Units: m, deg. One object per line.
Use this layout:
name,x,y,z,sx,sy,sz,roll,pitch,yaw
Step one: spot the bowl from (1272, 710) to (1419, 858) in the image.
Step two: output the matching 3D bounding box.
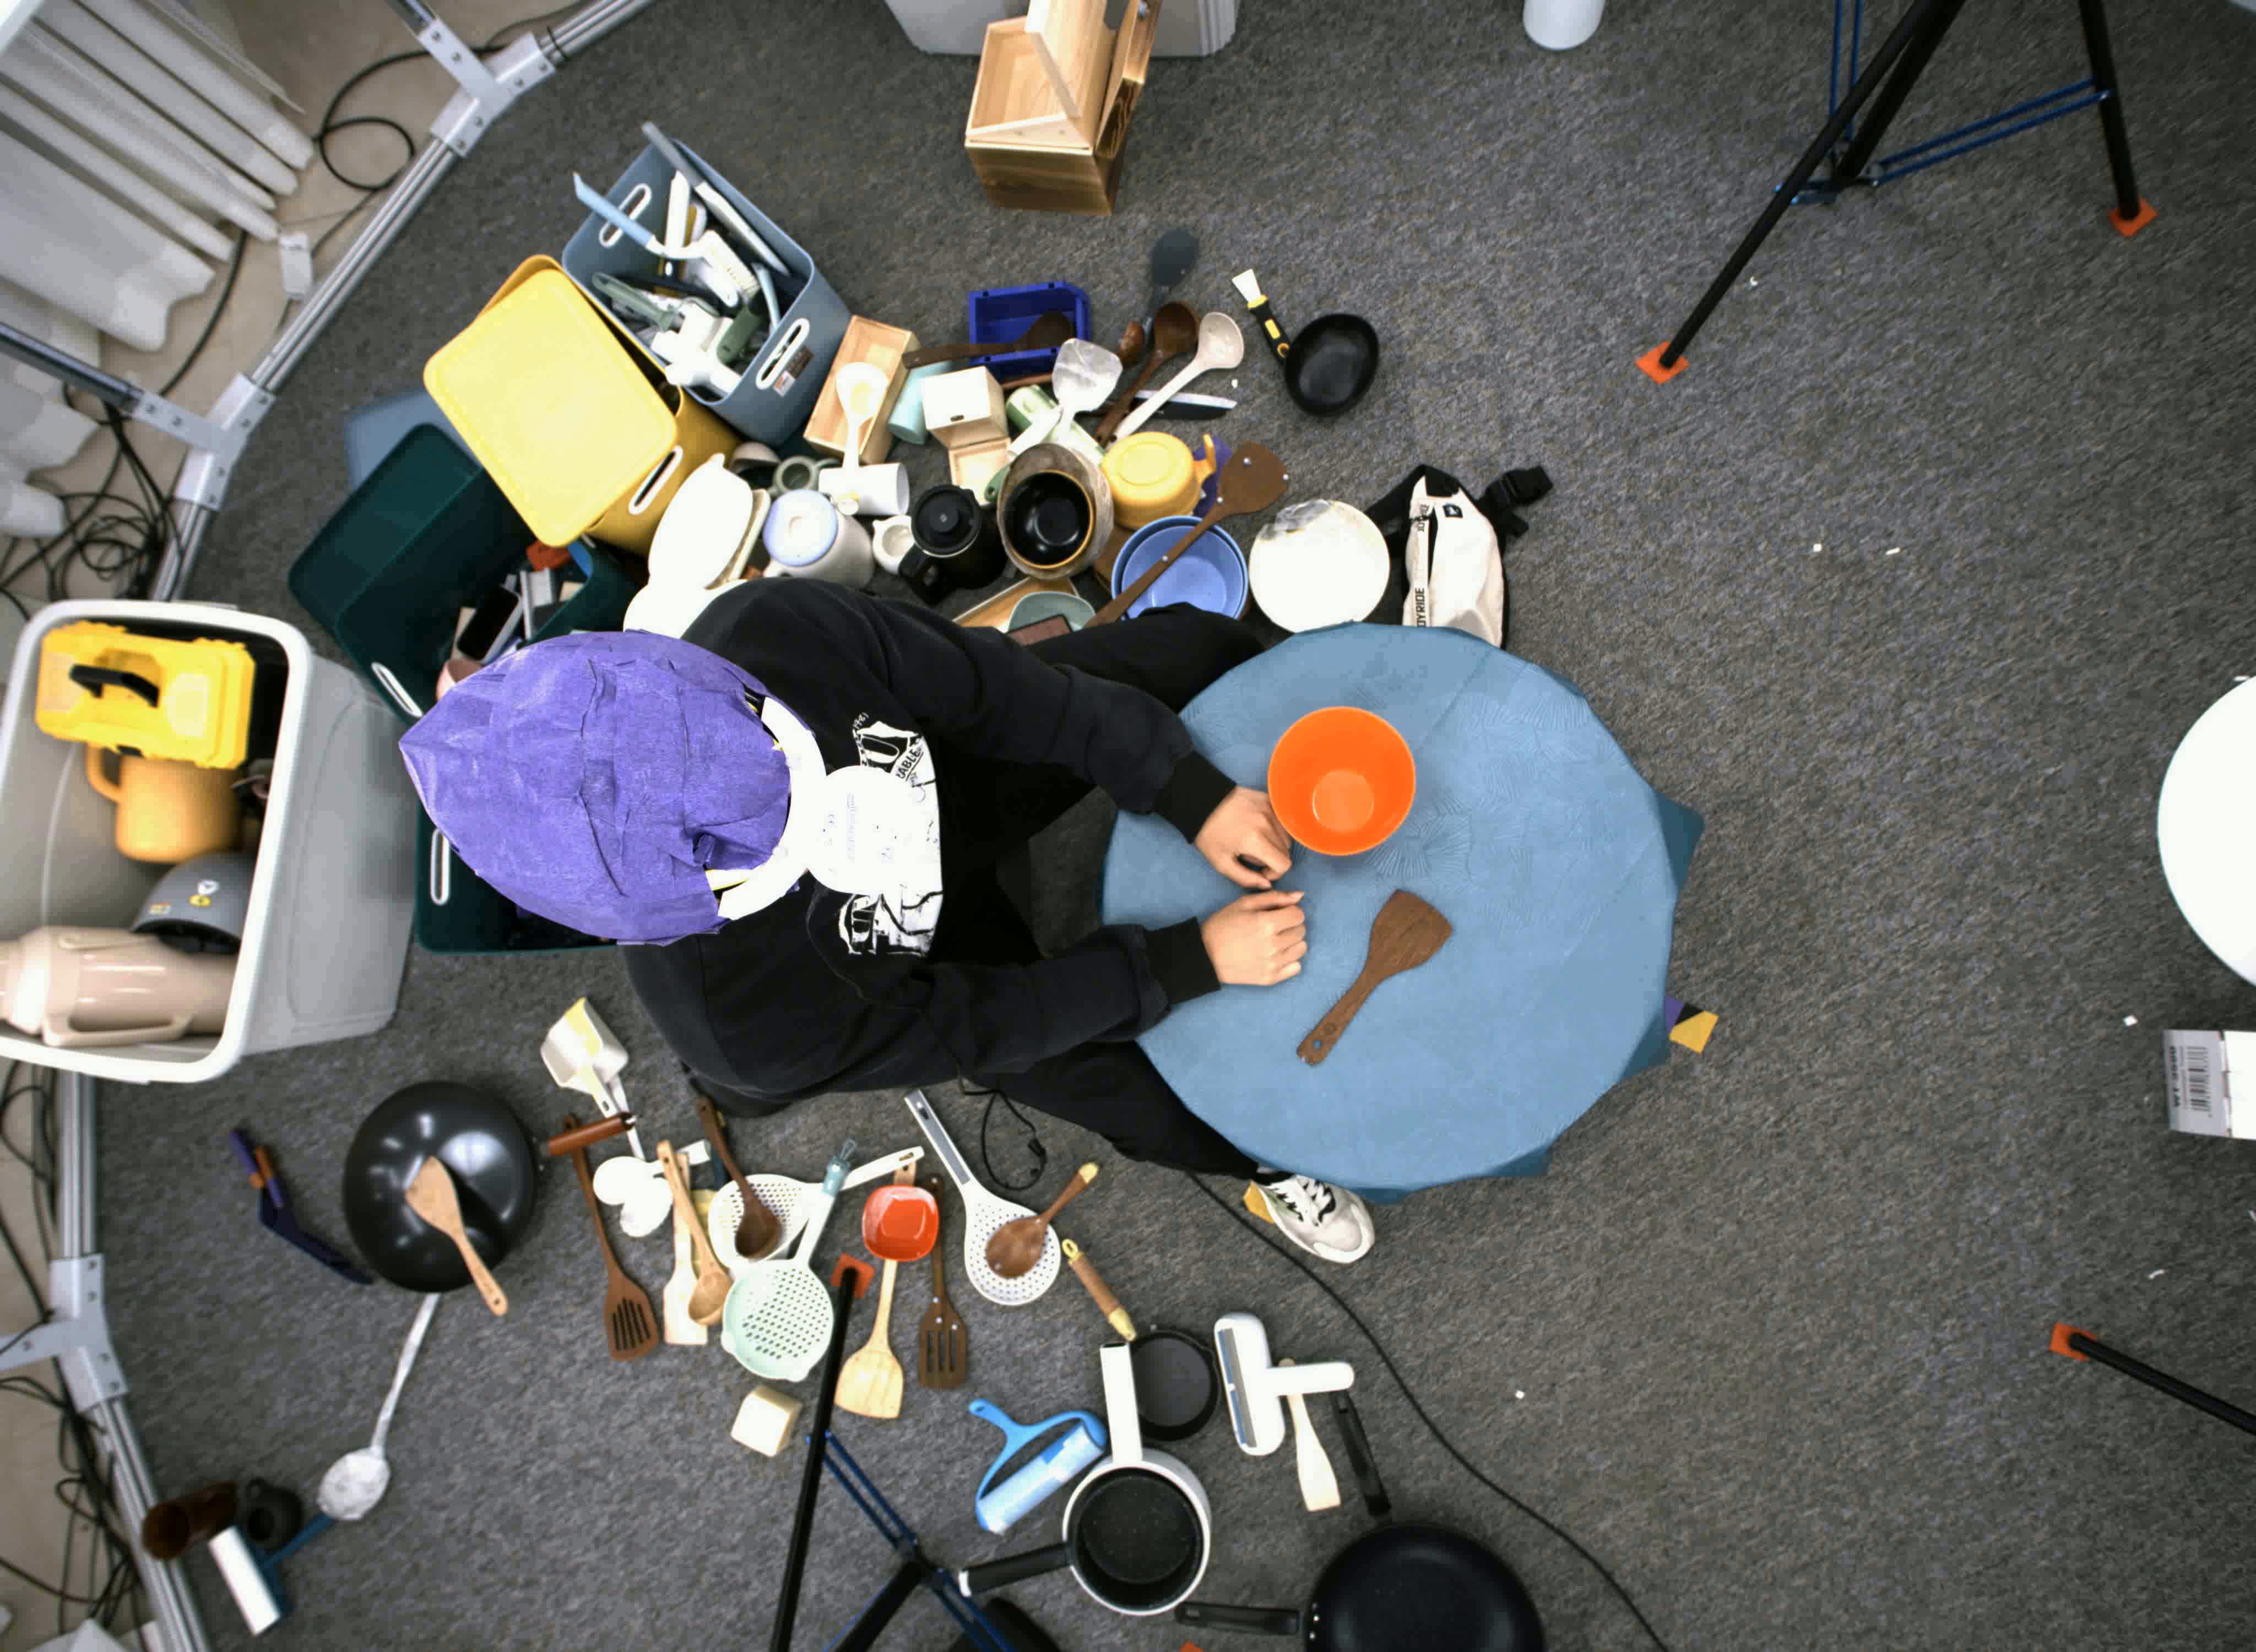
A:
bowl,0.225,-0.039,1.429,0.148,0.105,0.147,-1,85,9

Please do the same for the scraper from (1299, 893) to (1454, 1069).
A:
scraper,0.253,0.167,1.457,0.075,0.011,0.212,39,94,11
